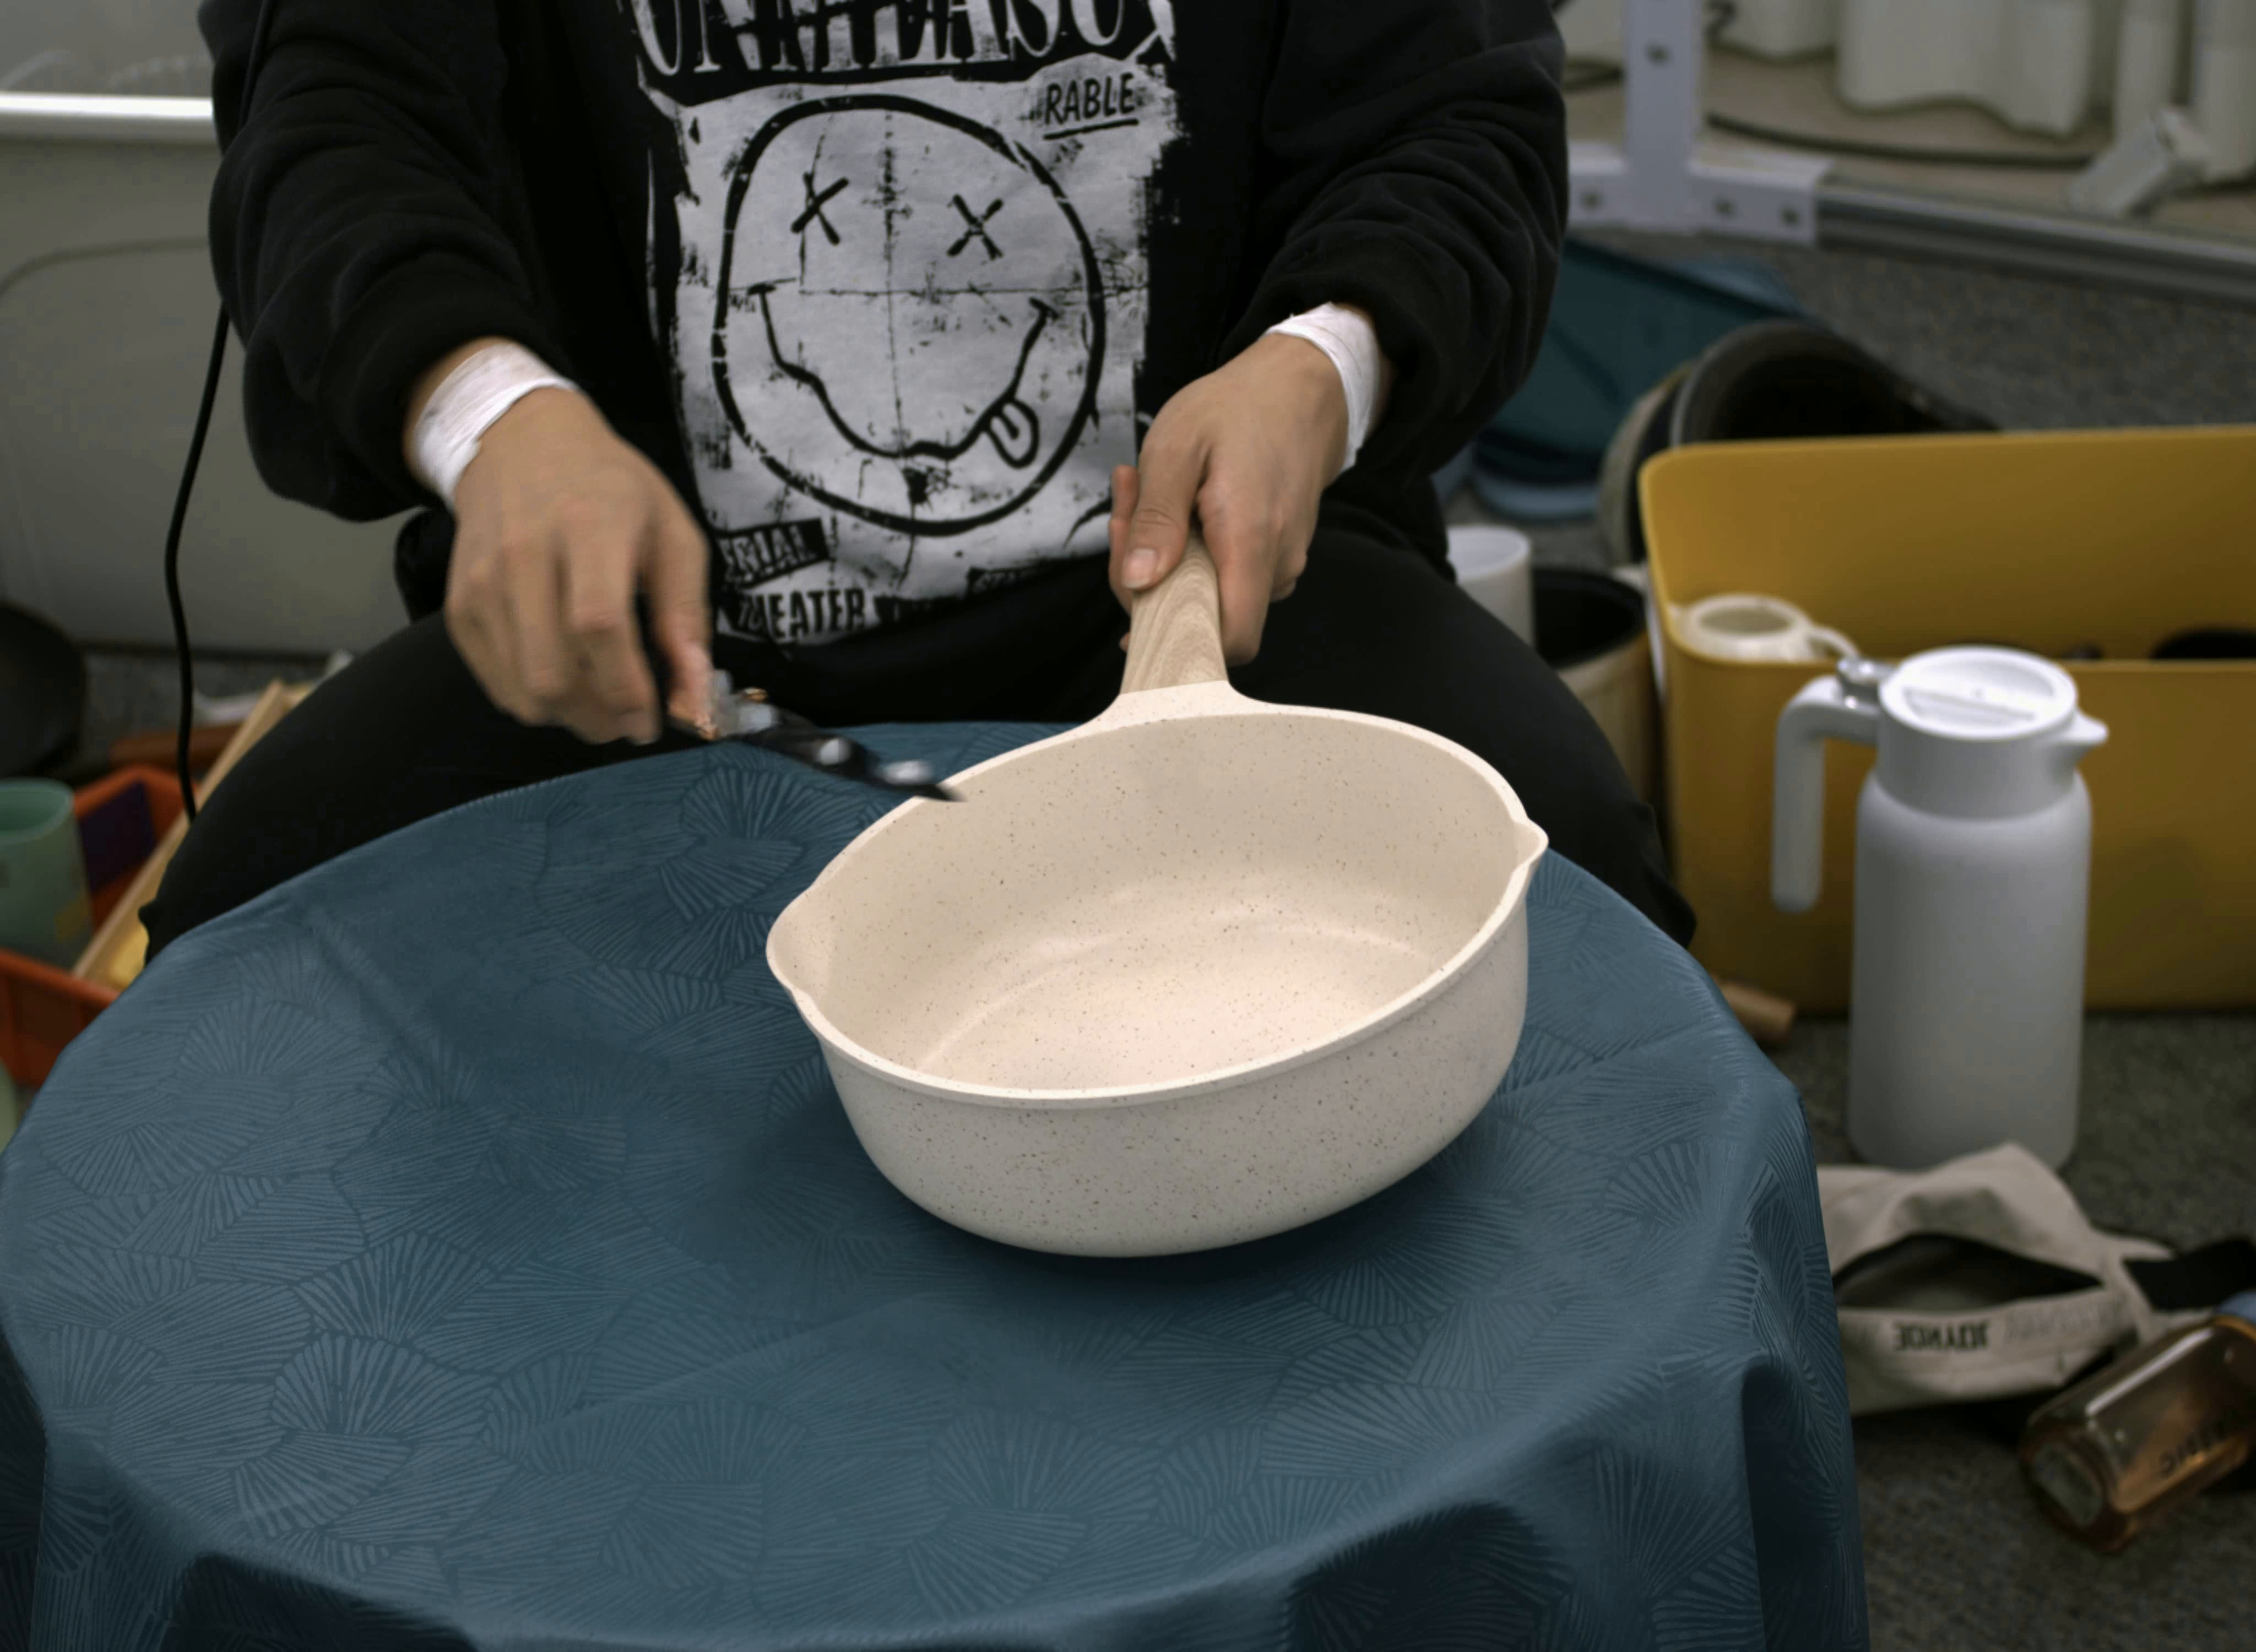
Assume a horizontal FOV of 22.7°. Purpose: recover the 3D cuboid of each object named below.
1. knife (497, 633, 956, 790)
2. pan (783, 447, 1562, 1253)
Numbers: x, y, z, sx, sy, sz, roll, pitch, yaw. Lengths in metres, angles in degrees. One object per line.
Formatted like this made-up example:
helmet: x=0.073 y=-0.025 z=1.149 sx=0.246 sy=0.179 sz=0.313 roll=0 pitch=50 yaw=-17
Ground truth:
knife: x=-0.136 y=-0.036 z=1.866 sx=0.026 sy=0.017 sz=0.225 roll=-23 pitch=28 yaw=-38
pan: x=0.023 y=0.004 z=1.952 sx=0.262 sy=0.101 sz=0.442 roll=-9 pitch=27 yaw=6
